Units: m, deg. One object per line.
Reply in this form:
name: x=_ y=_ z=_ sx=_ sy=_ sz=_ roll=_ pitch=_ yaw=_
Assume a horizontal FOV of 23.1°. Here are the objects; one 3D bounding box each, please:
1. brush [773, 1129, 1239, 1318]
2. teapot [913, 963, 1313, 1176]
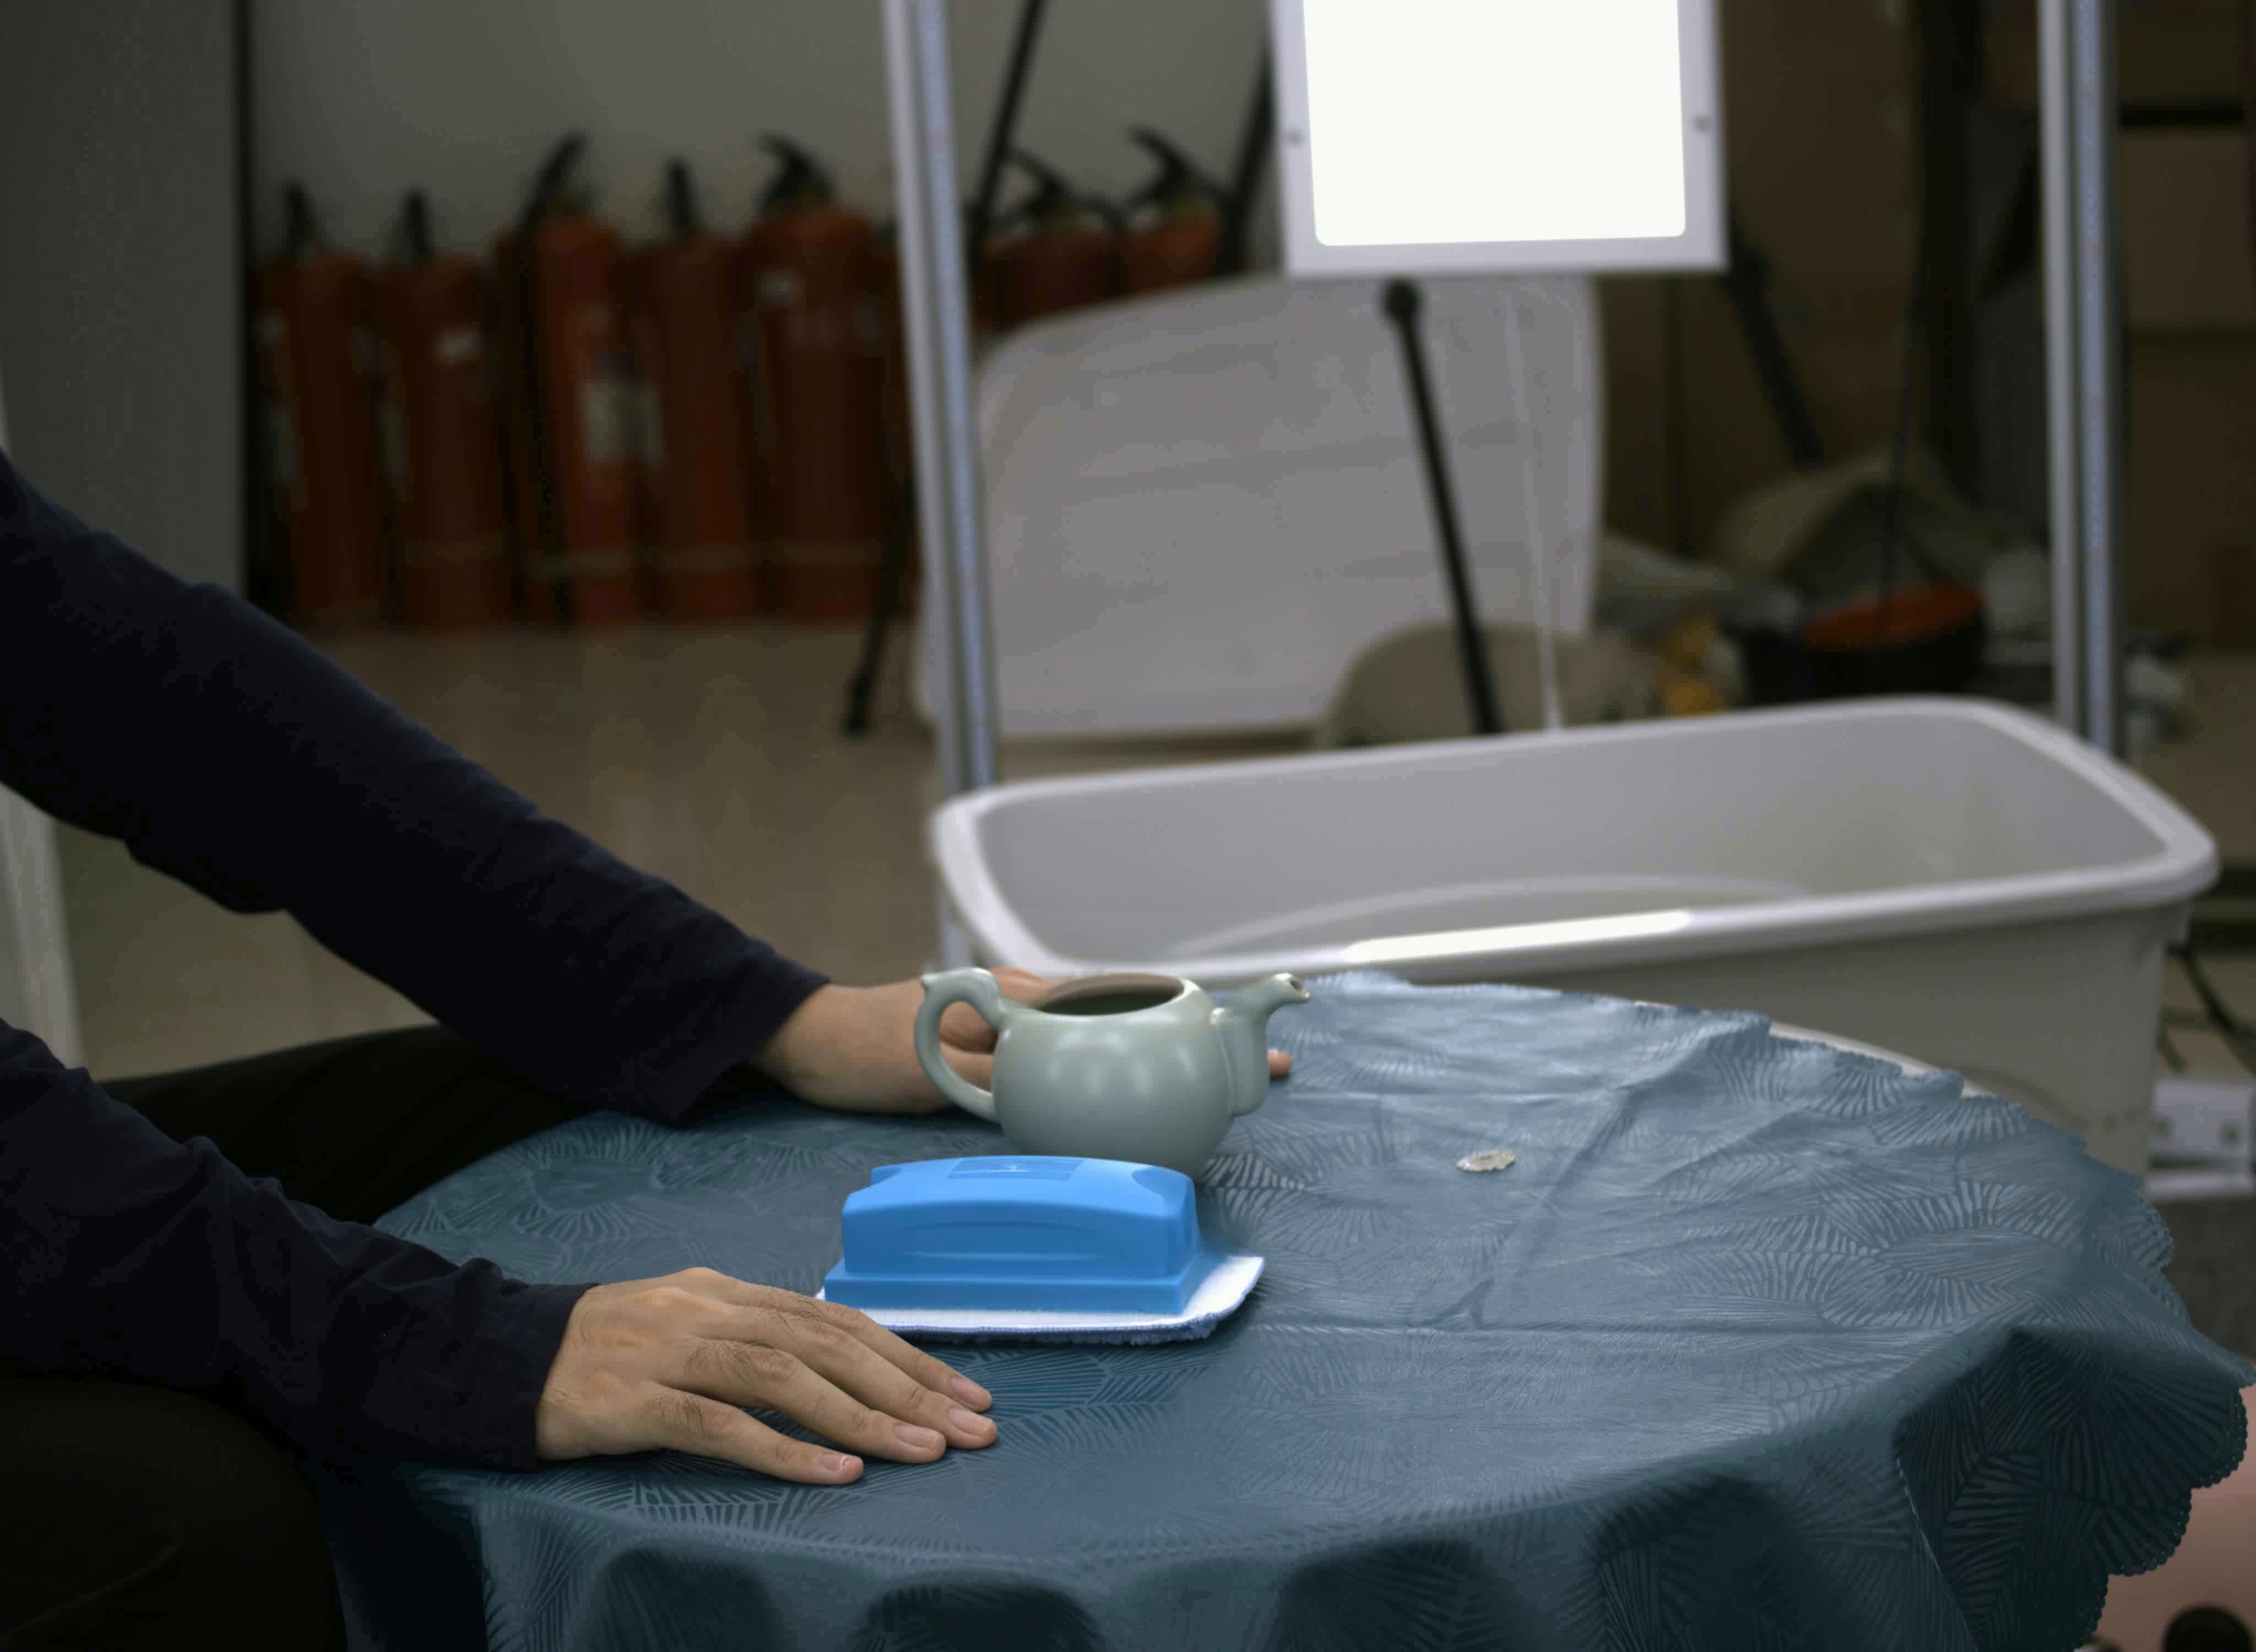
brush: x=-0.039 y=0.128 z=1.777 sx=0.146 sy=0.056 sz=0.082 roll=3 pitch=12 yaw=19
teapot: x=-0.005 y=0.086 z=1.912 sx=0.145 sy=0.075 sz=0.087 roll=3 pitch=15 yaw=19
